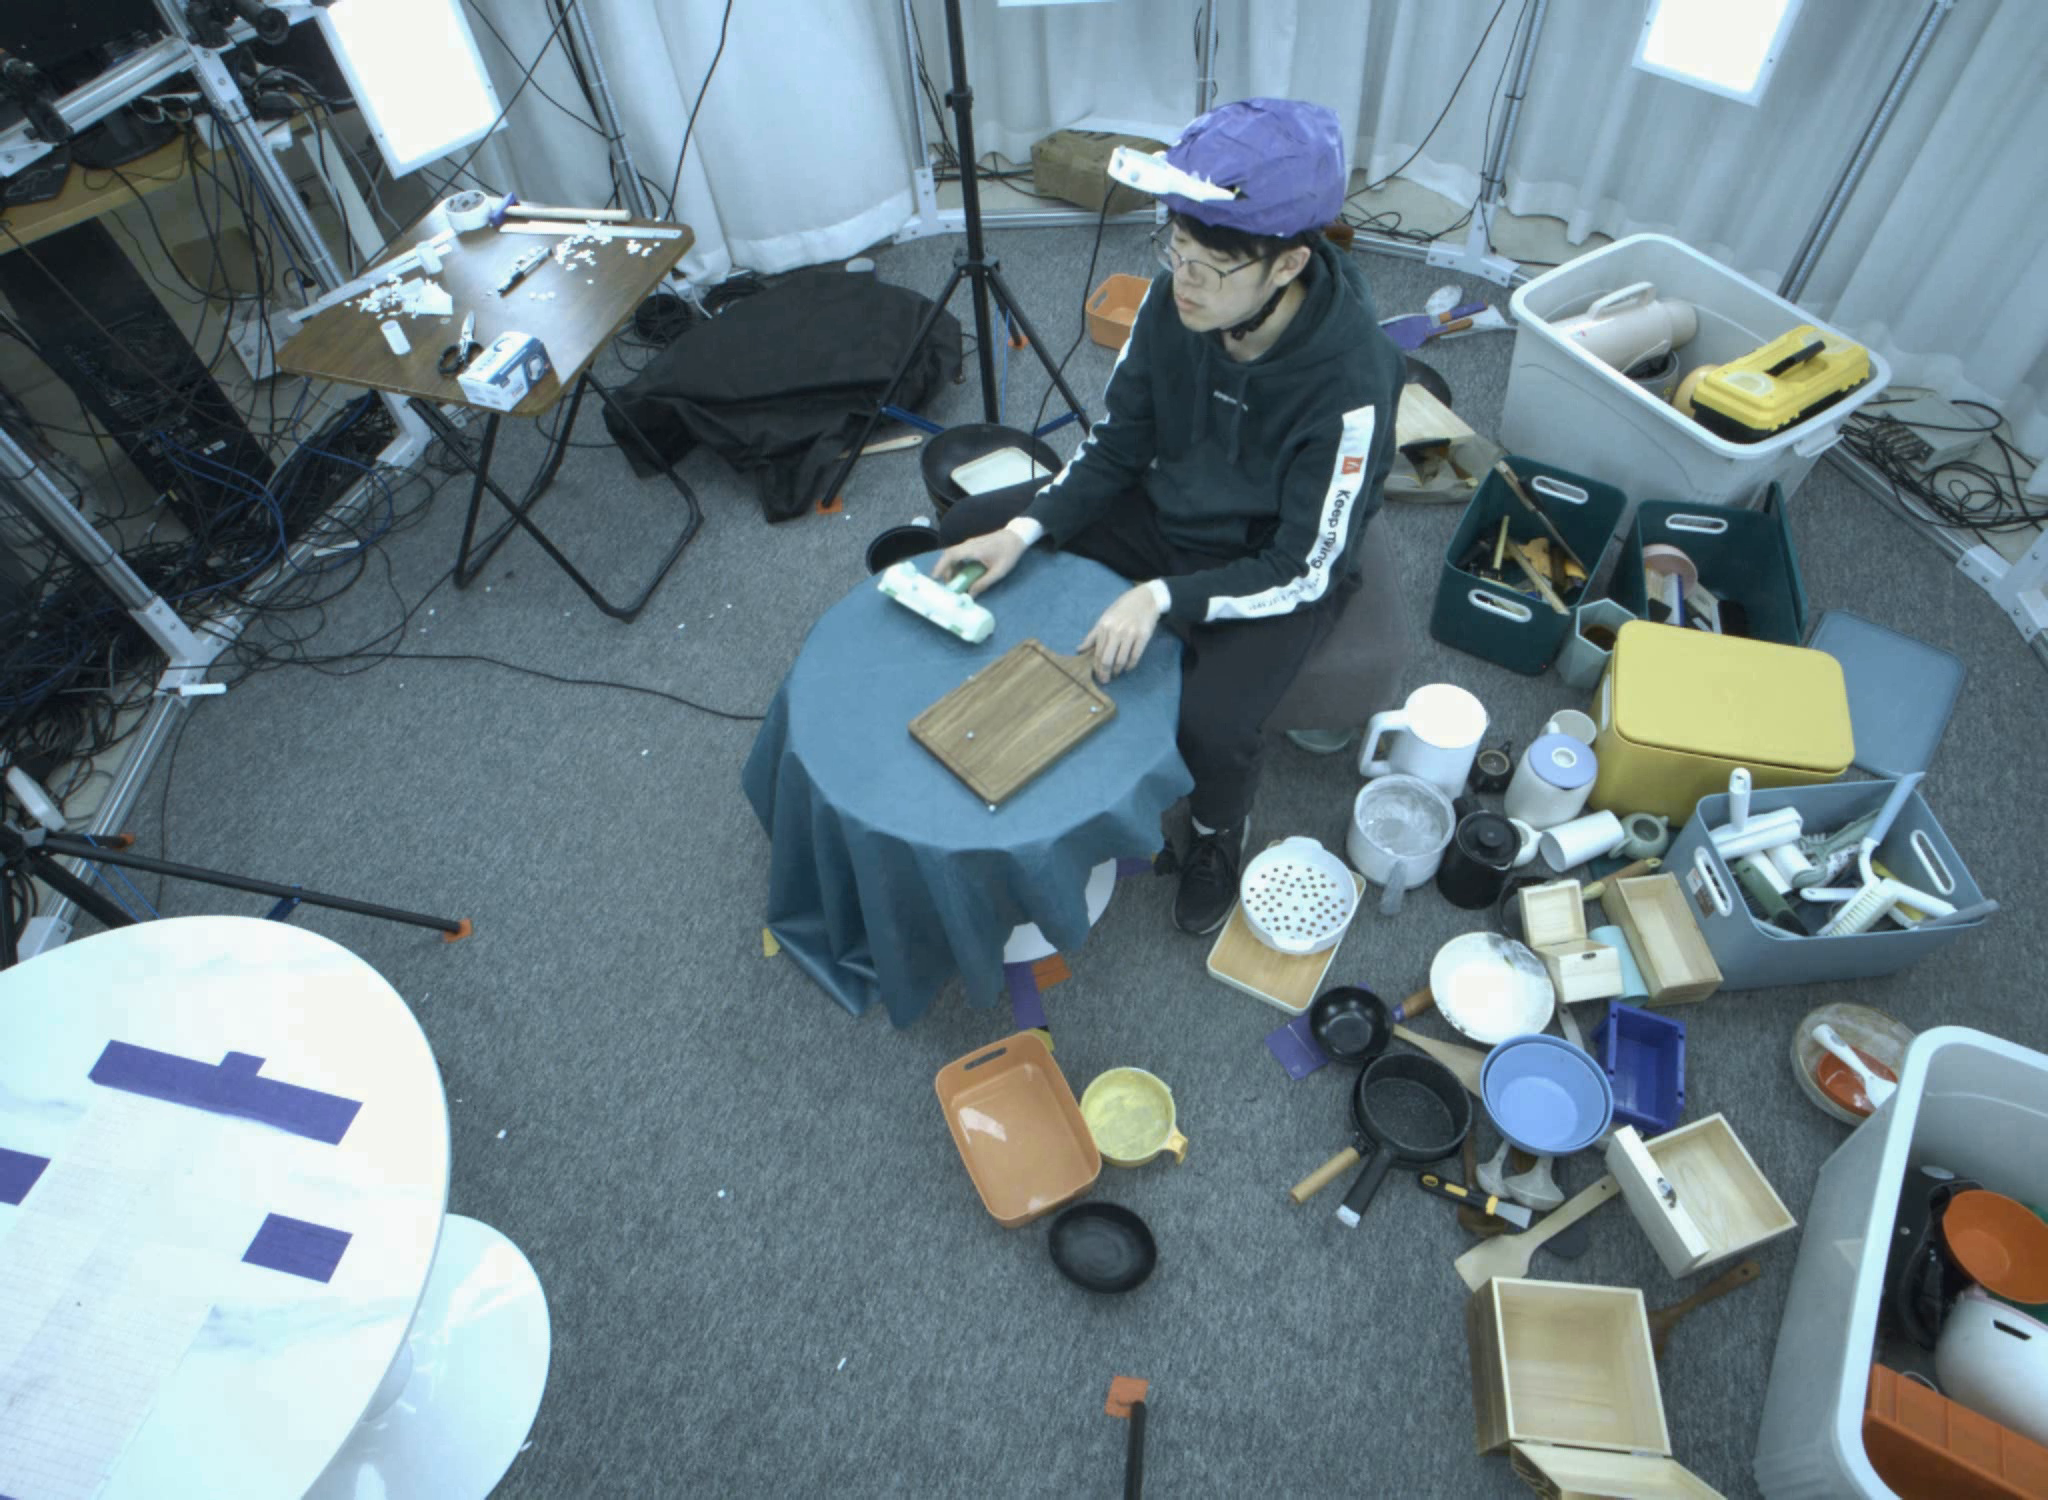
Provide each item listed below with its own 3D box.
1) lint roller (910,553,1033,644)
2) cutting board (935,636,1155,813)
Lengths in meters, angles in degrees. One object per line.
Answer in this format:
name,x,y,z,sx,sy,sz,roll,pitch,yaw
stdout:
lint roller,-0.052,-0.270,1.929,0.195,0.083,0.184,33,66,23
cutting board,0.062,-0.066,1.815,0.355,0.023,0.197,-36,61,-22
